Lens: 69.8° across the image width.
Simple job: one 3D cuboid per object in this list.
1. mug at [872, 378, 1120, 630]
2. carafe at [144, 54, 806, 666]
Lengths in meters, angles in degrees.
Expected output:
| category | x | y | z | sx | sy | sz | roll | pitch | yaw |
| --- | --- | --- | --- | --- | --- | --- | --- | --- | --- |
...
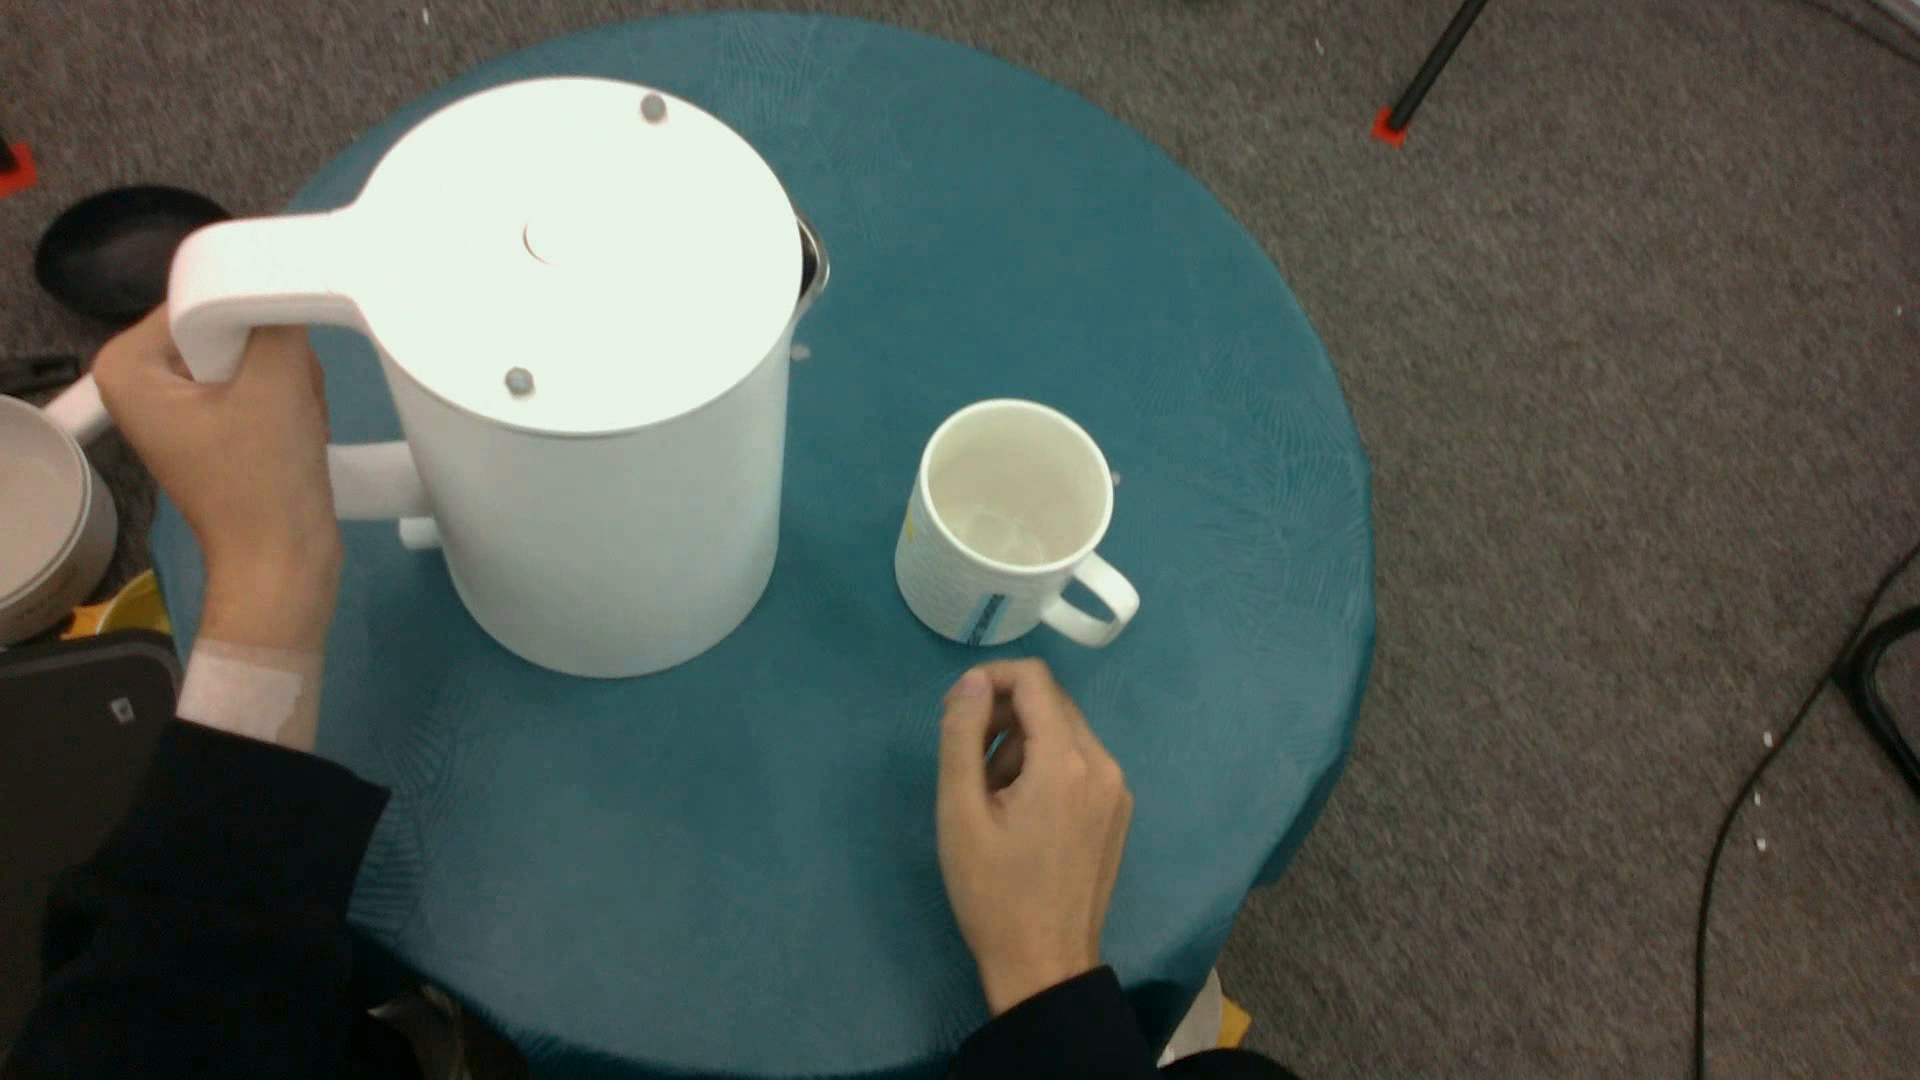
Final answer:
| category | x | y | z | sx | sy | sz | roll | pitch | yaw |
| --- | --- | --- | --- | --- | --- | --- | --- | --- | --- |
| mug | 0.019 | -0.003 | 0.636 | 0.118 | 0.101 | 0.085 | 39 | 64 | 7 |
| carafe | -0.178 | -0.058 | 0.548 | 0.213 | 0.239 | 0.152 | -4 | 66 | -15 |
